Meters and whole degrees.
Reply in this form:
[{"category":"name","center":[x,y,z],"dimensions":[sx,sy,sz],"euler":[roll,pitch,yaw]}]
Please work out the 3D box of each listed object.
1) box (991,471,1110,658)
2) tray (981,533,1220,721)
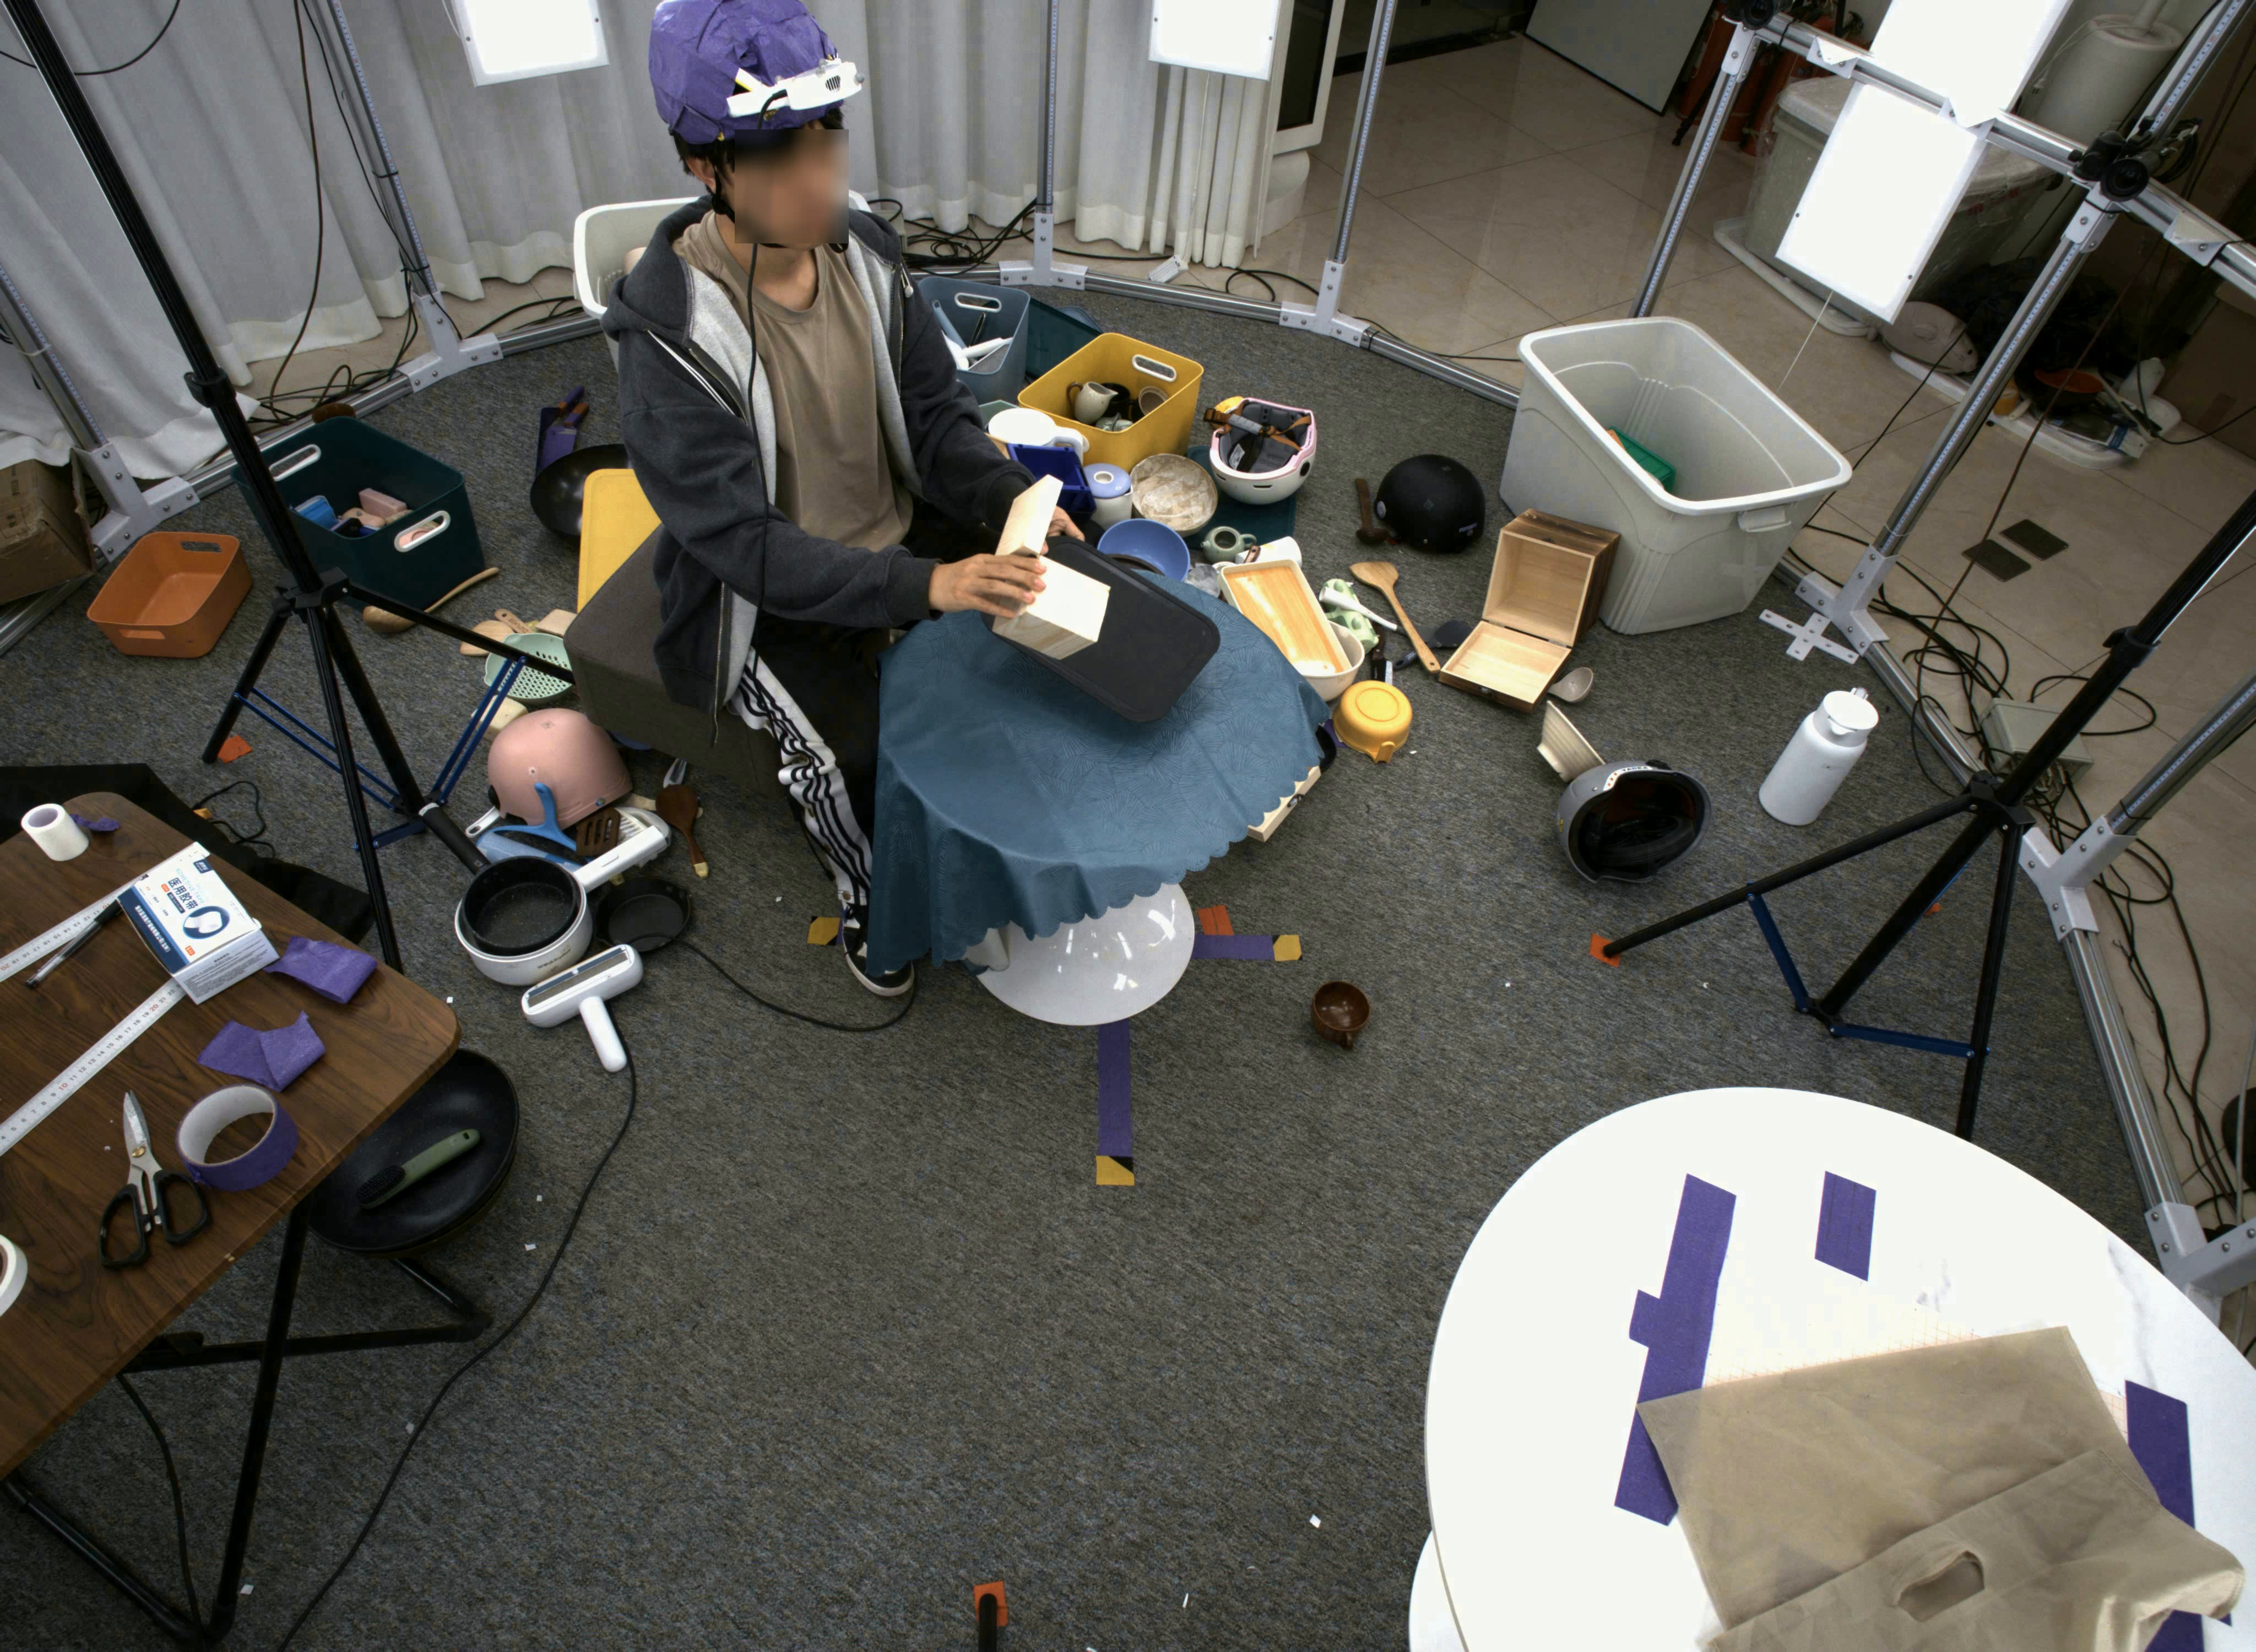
[{"category":"box","center":[-0.092,-0.325,1.612],"dimensions":[0.132,0.102,0.186],"euler":[19,76,-25]},{"category":"tray","center":[-0.045,-0.288,1.801],"dimensions":[0.328,0.009,0.214],"euler":[34,64,12]}]
